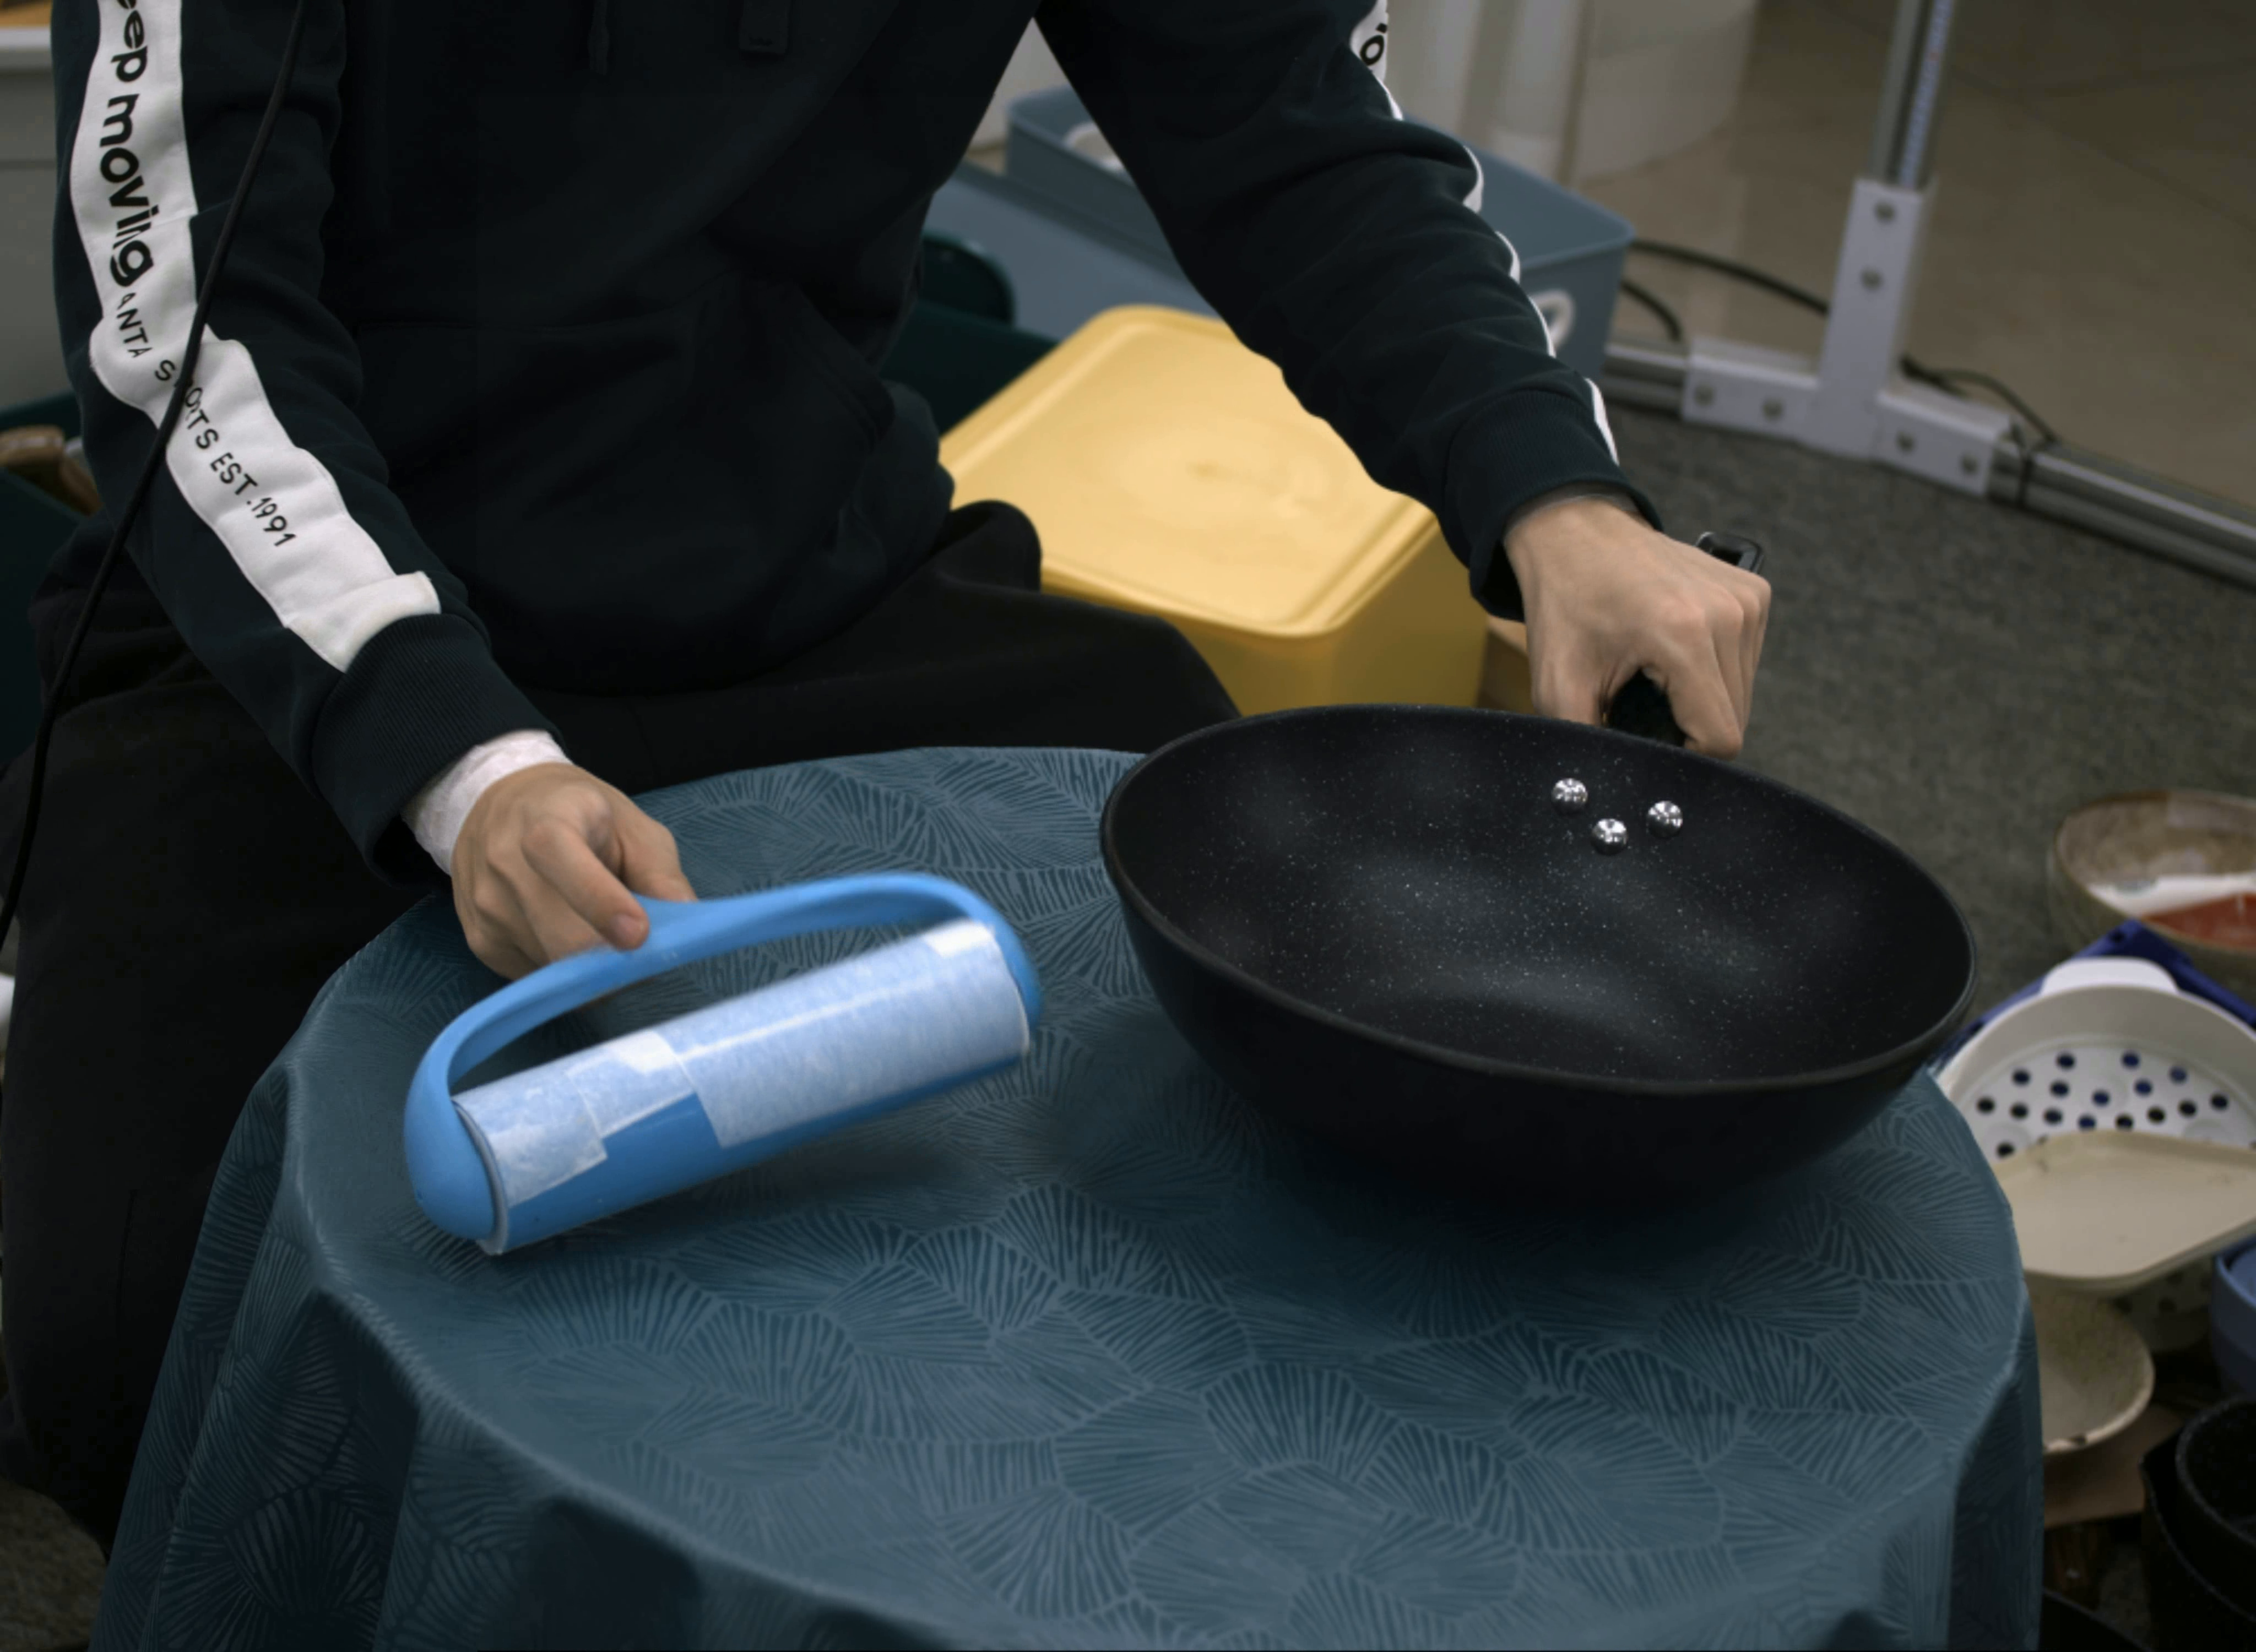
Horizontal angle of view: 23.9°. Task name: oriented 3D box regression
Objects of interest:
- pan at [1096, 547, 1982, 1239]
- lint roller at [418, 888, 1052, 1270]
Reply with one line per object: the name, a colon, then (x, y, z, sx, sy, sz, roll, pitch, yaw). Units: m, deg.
pan: (0.162, 0.023, 1.918, 0.310, 0.111, 0.477, 15, 25, 12)
lint roller: (-0.159, 0.063, 1.791, 0.228, 0.067, 0.182, -22, 36, -27)
